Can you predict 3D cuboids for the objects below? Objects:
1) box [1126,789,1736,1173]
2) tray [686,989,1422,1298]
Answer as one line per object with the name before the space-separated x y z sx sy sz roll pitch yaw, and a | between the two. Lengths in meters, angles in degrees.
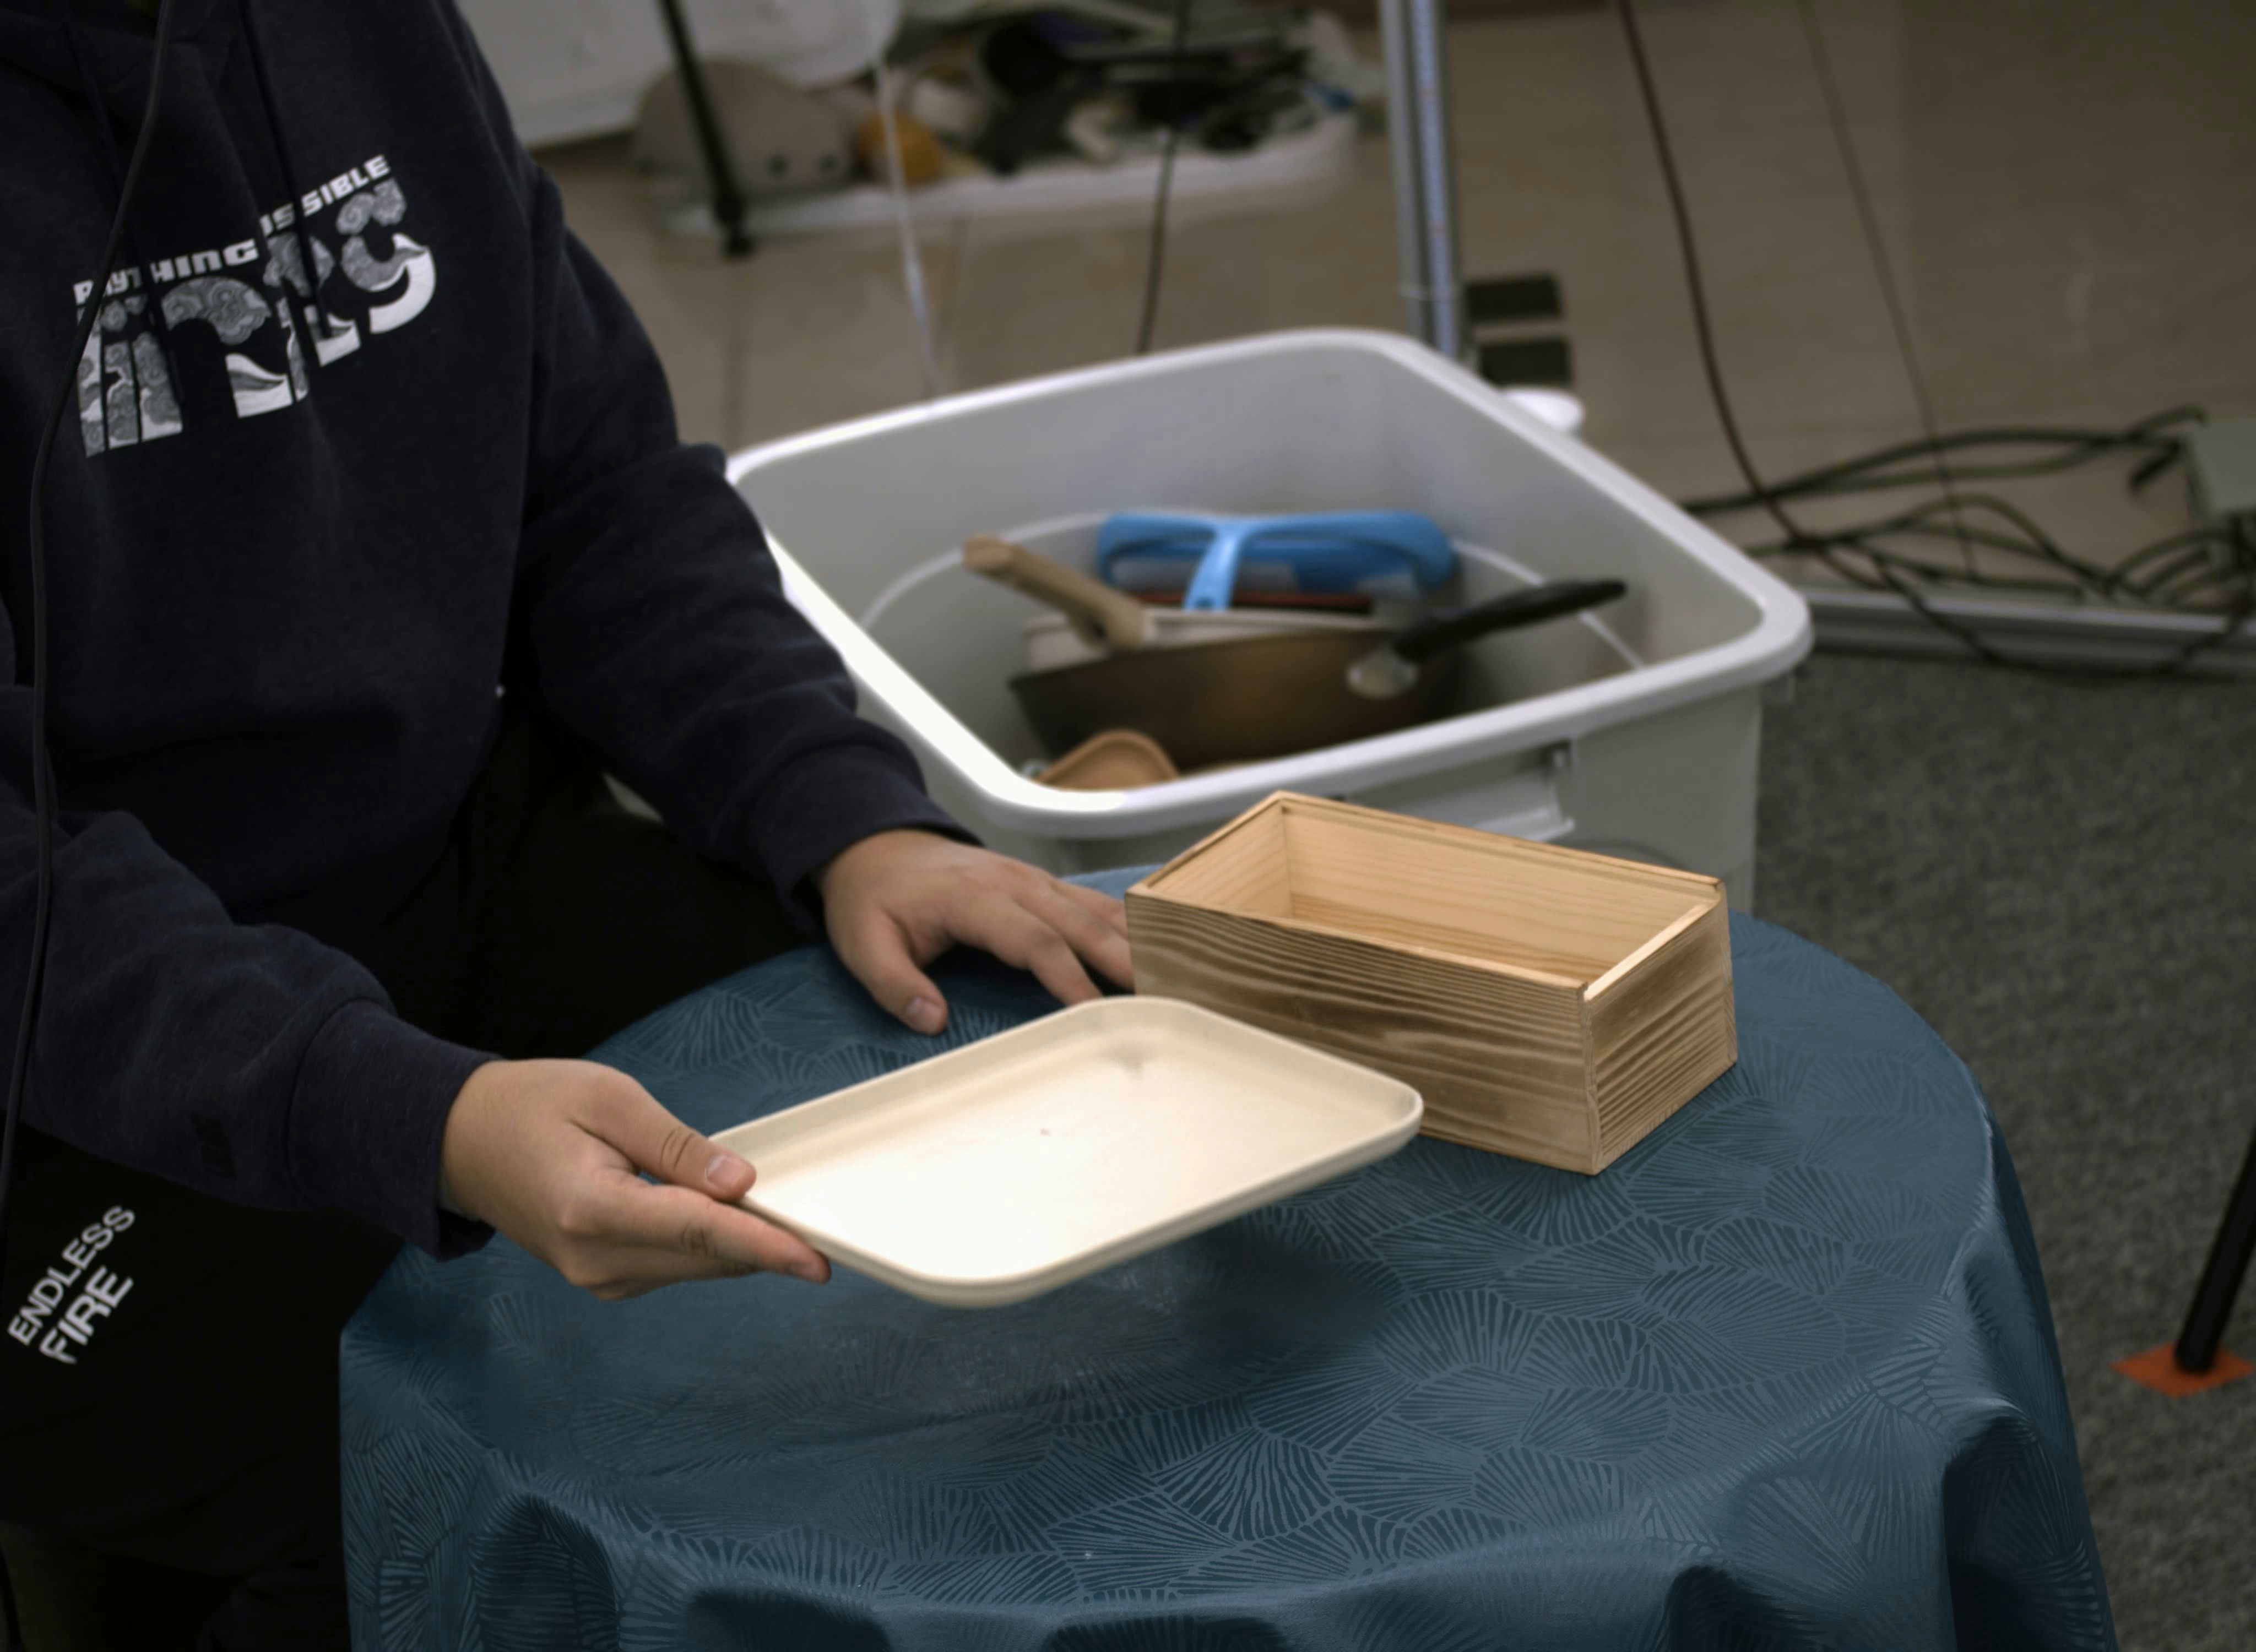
box | 0.117 0.057 2.200 0.210 0.081 0.106 12 30 35
tray | -0.025 0.112 2.024 0.238 0.018 0.170 -19 26 -40
